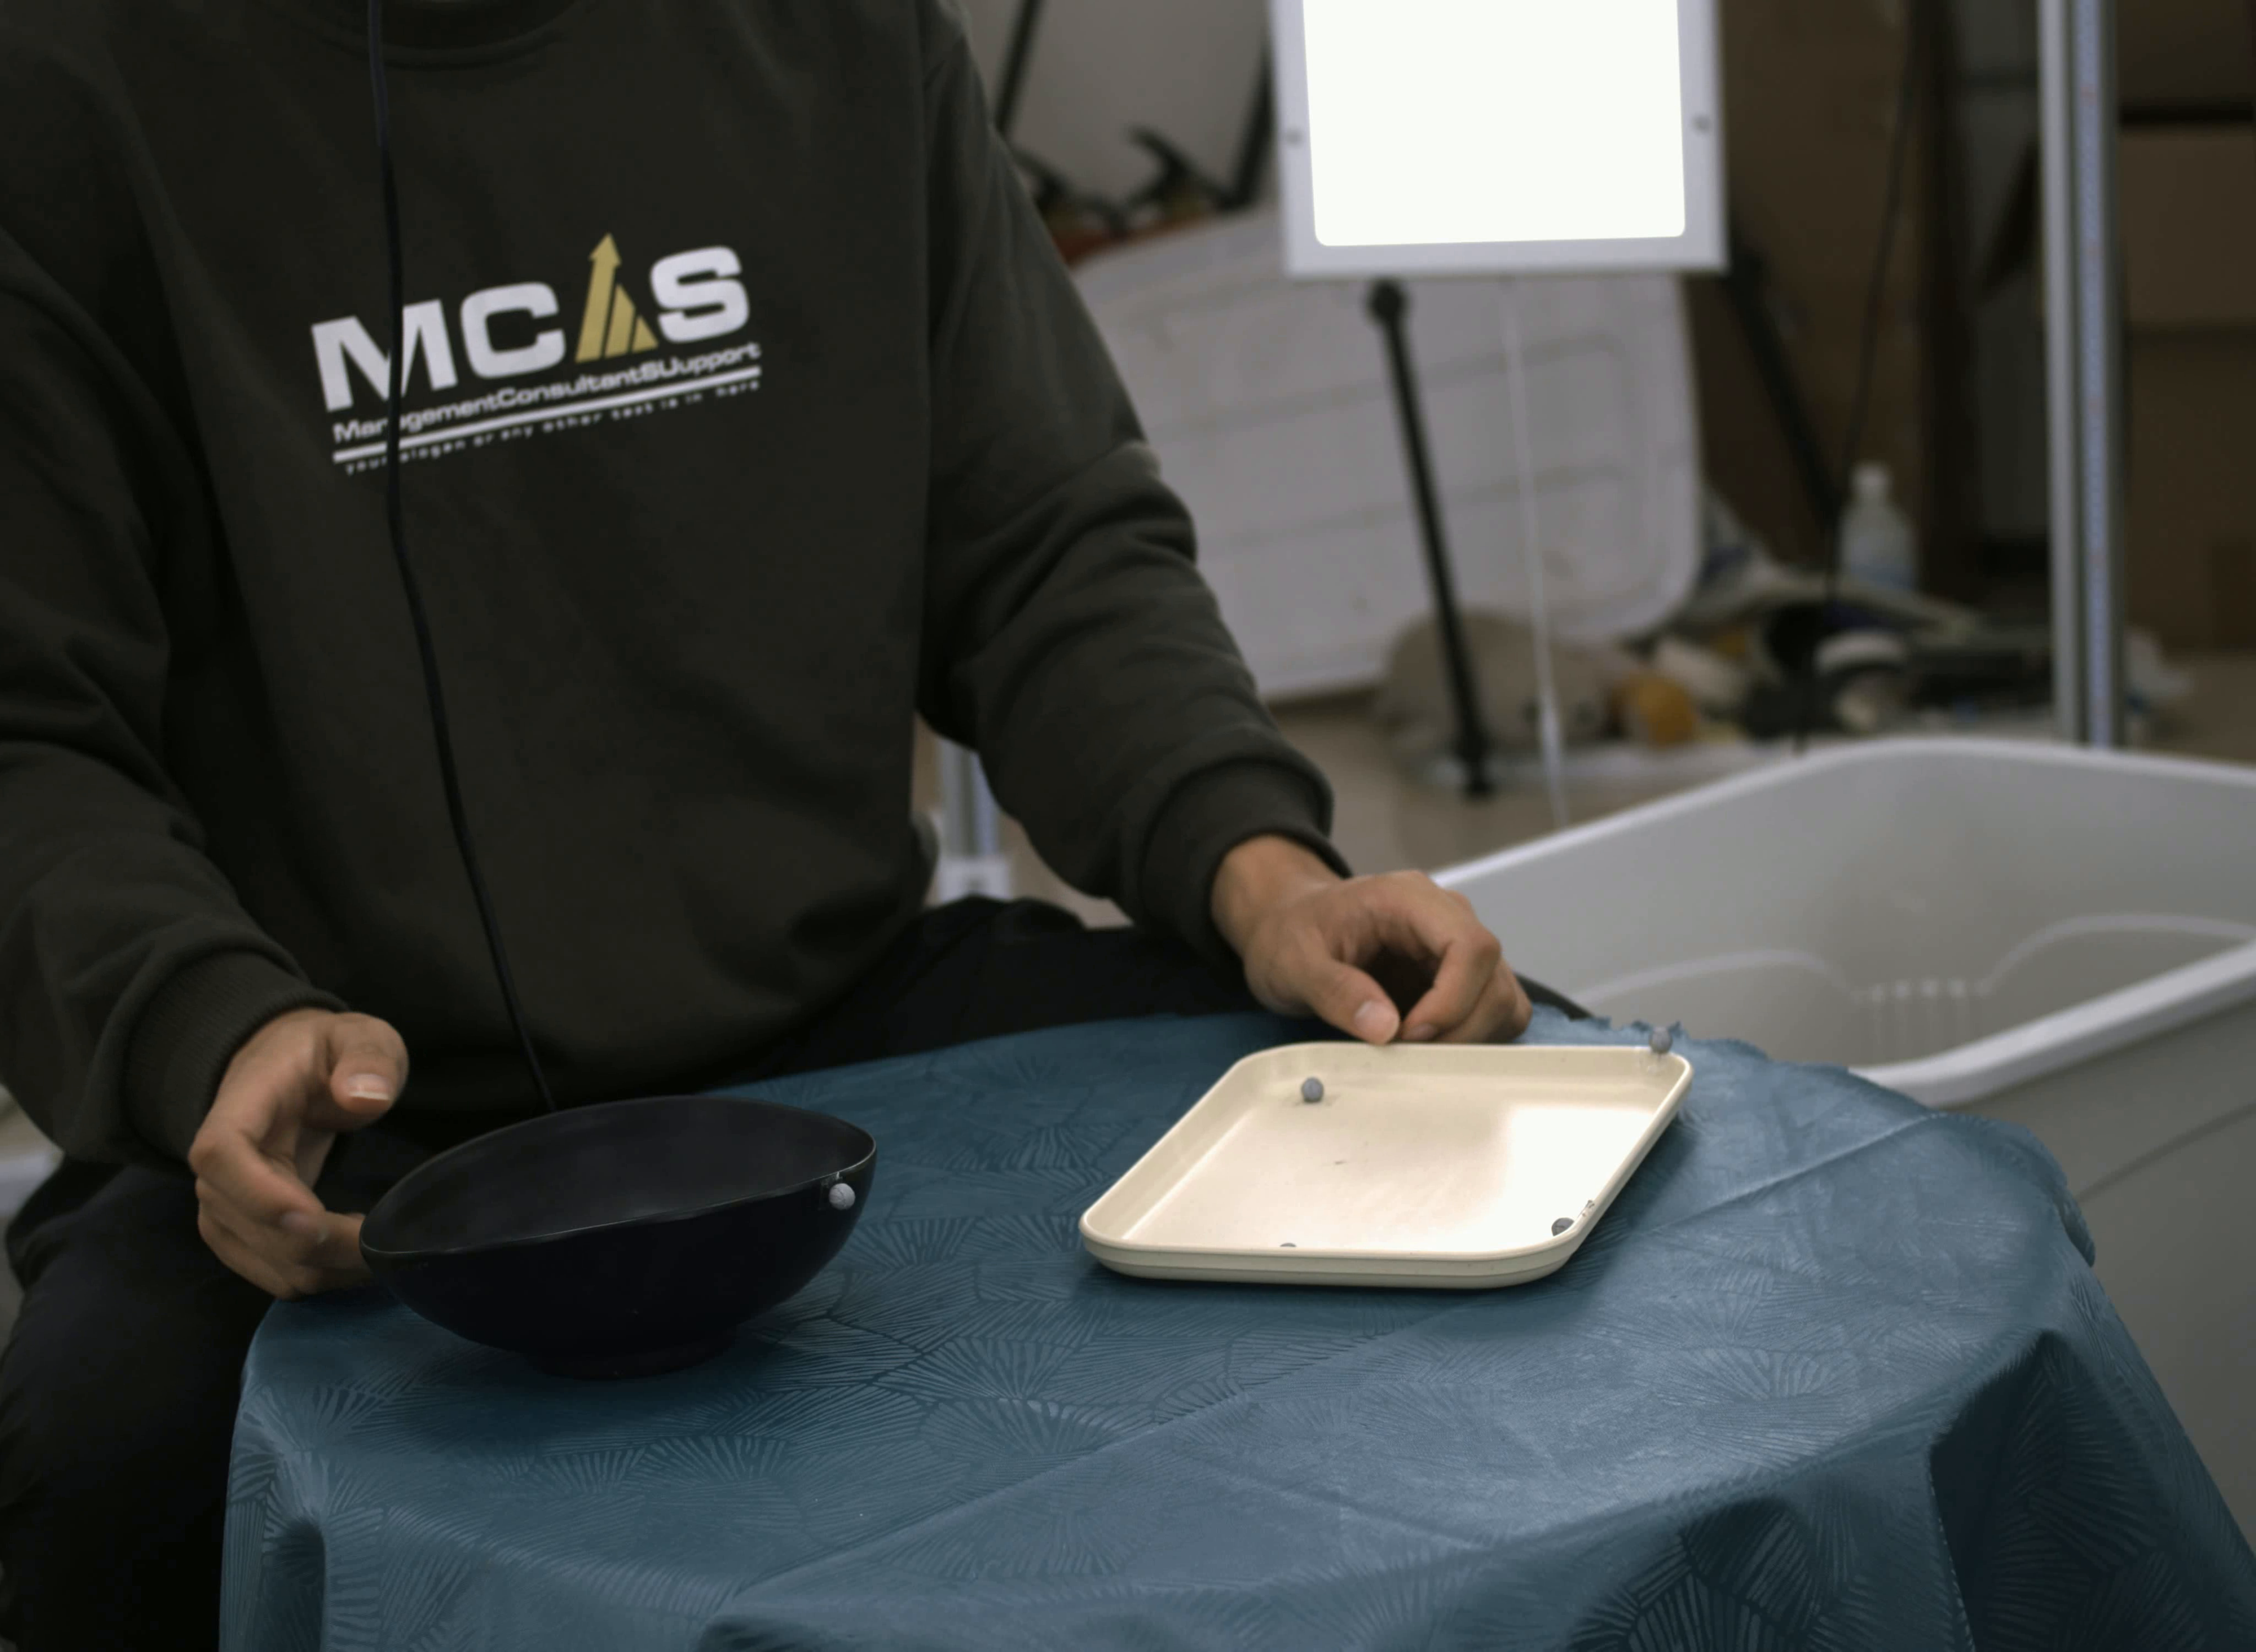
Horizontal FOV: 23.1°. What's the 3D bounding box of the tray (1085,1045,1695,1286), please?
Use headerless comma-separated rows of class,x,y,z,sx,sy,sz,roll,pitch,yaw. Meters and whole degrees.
tray,0.094,0.115,1.877,0.173,0.017,0.235,-1,14,19

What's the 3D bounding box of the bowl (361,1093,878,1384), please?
bowl,-0.160,0.138,1.777,0.167,0.067,0.139,-11,13,-17
